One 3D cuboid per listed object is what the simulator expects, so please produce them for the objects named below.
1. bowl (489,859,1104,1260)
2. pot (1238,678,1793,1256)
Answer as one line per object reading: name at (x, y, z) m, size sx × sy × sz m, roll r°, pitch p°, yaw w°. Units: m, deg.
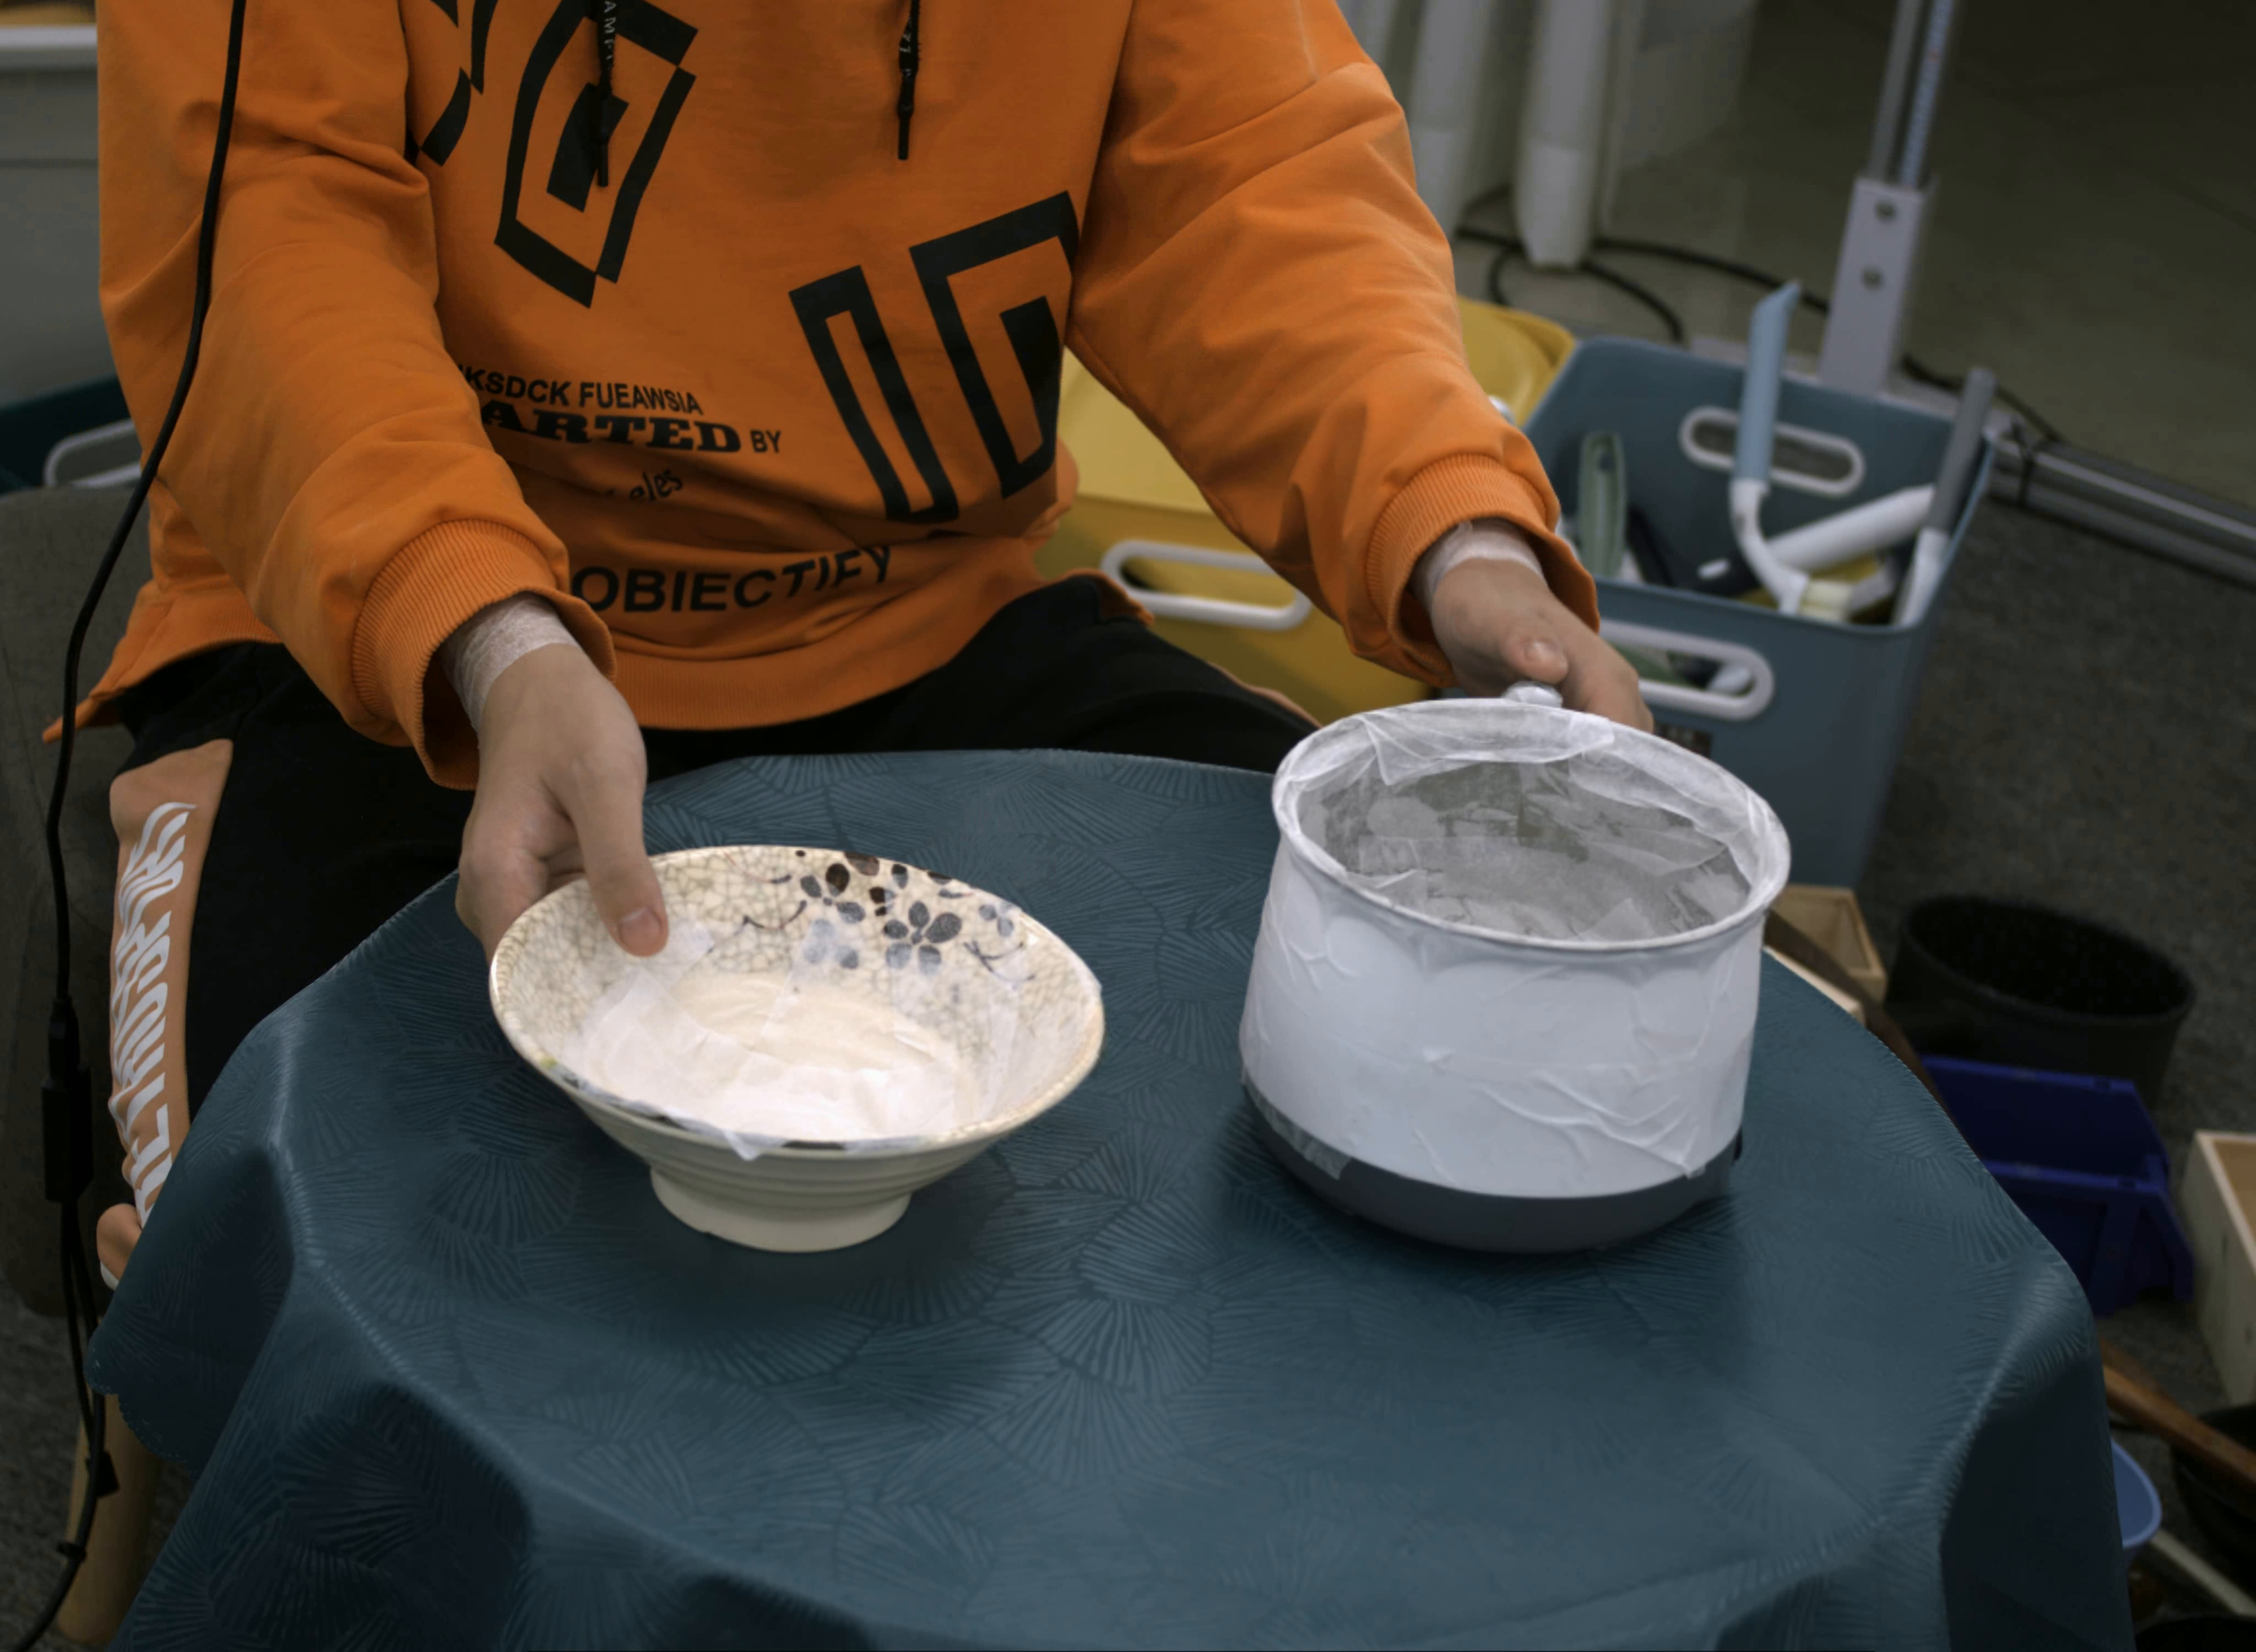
bowl at (-0.112, 0.089, 1.764) m, size 0.203 × 0.078 × 0.205 m, roll 4°, pitch 25°, yaw -2°
pot at (0.130, 0.041, 1.843) m, size 0.178 × 0.136 × 0.235 m, roll 7°, pitch 27°, yaw 0°
